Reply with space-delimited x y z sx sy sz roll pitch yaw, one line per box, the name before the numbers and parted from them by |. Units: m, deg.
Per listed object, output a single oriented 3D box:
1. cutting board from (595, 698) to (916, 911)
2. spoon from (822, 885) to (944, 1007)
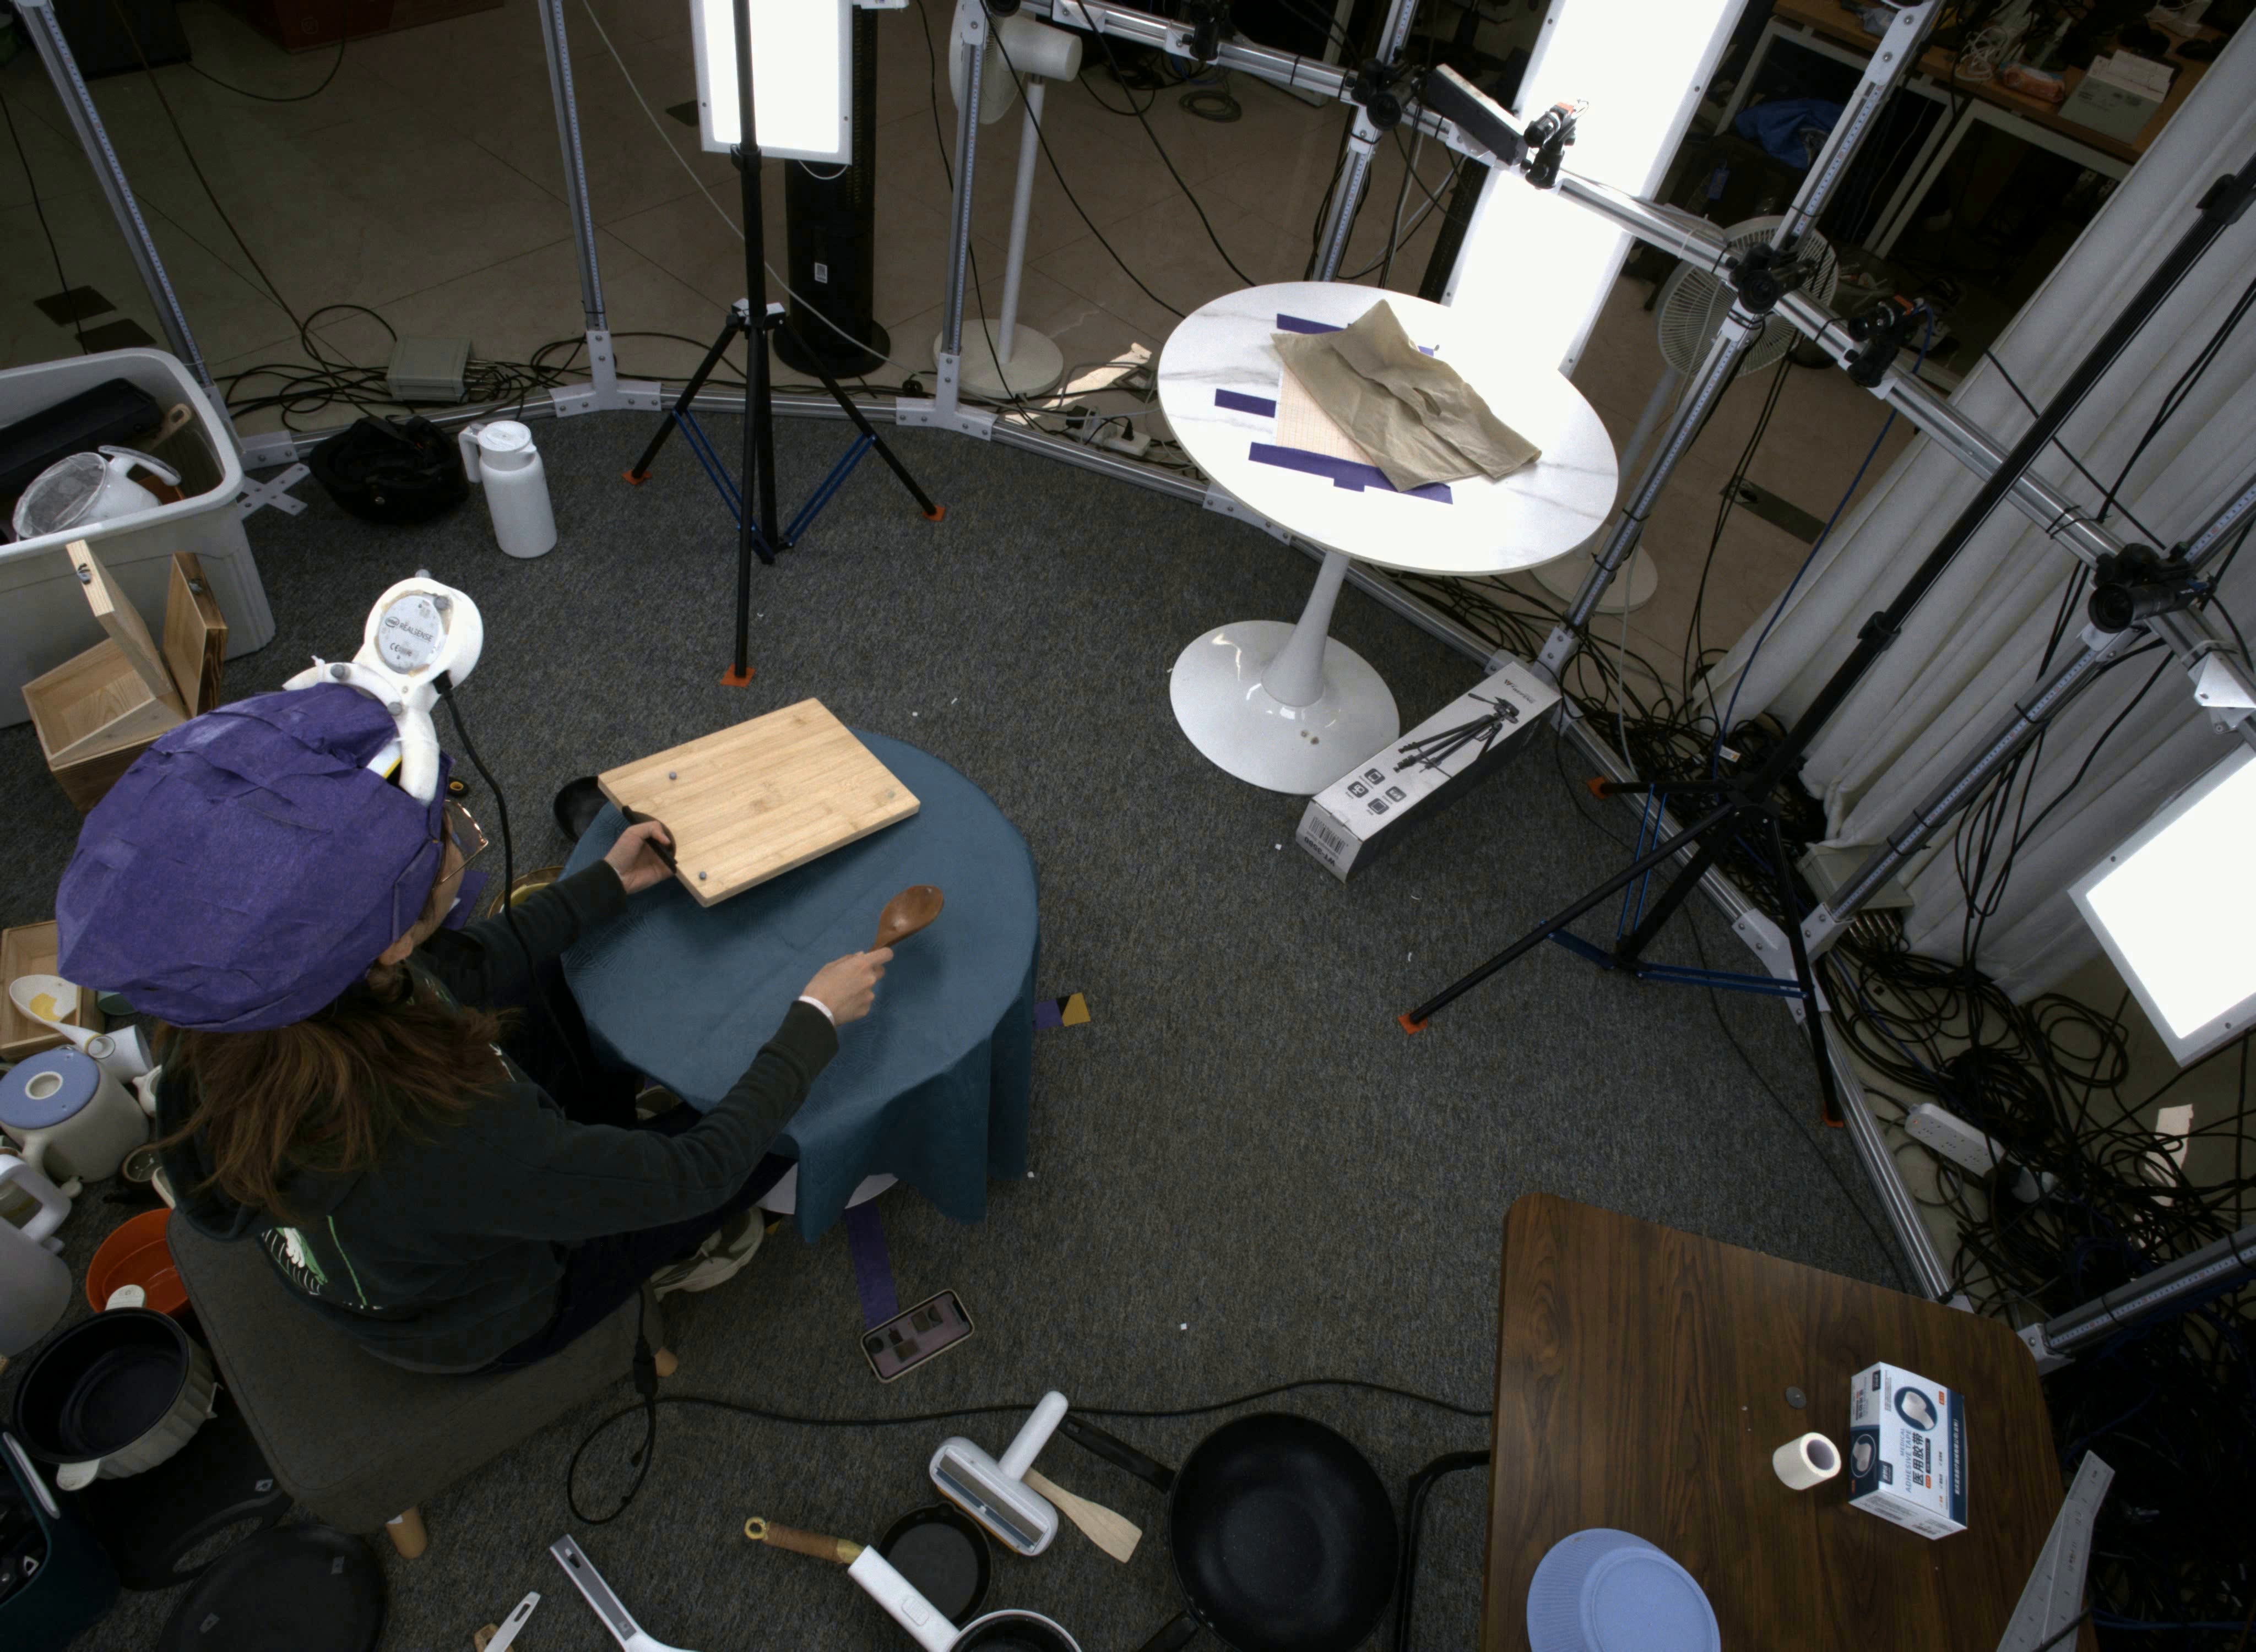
cutting board | -0.482 -0.040 1.691 0.245 0.024 0.350 42 44 18
spoon | -0.297 0.141 1.567 0.073 0.018 0.215 15 43 25
